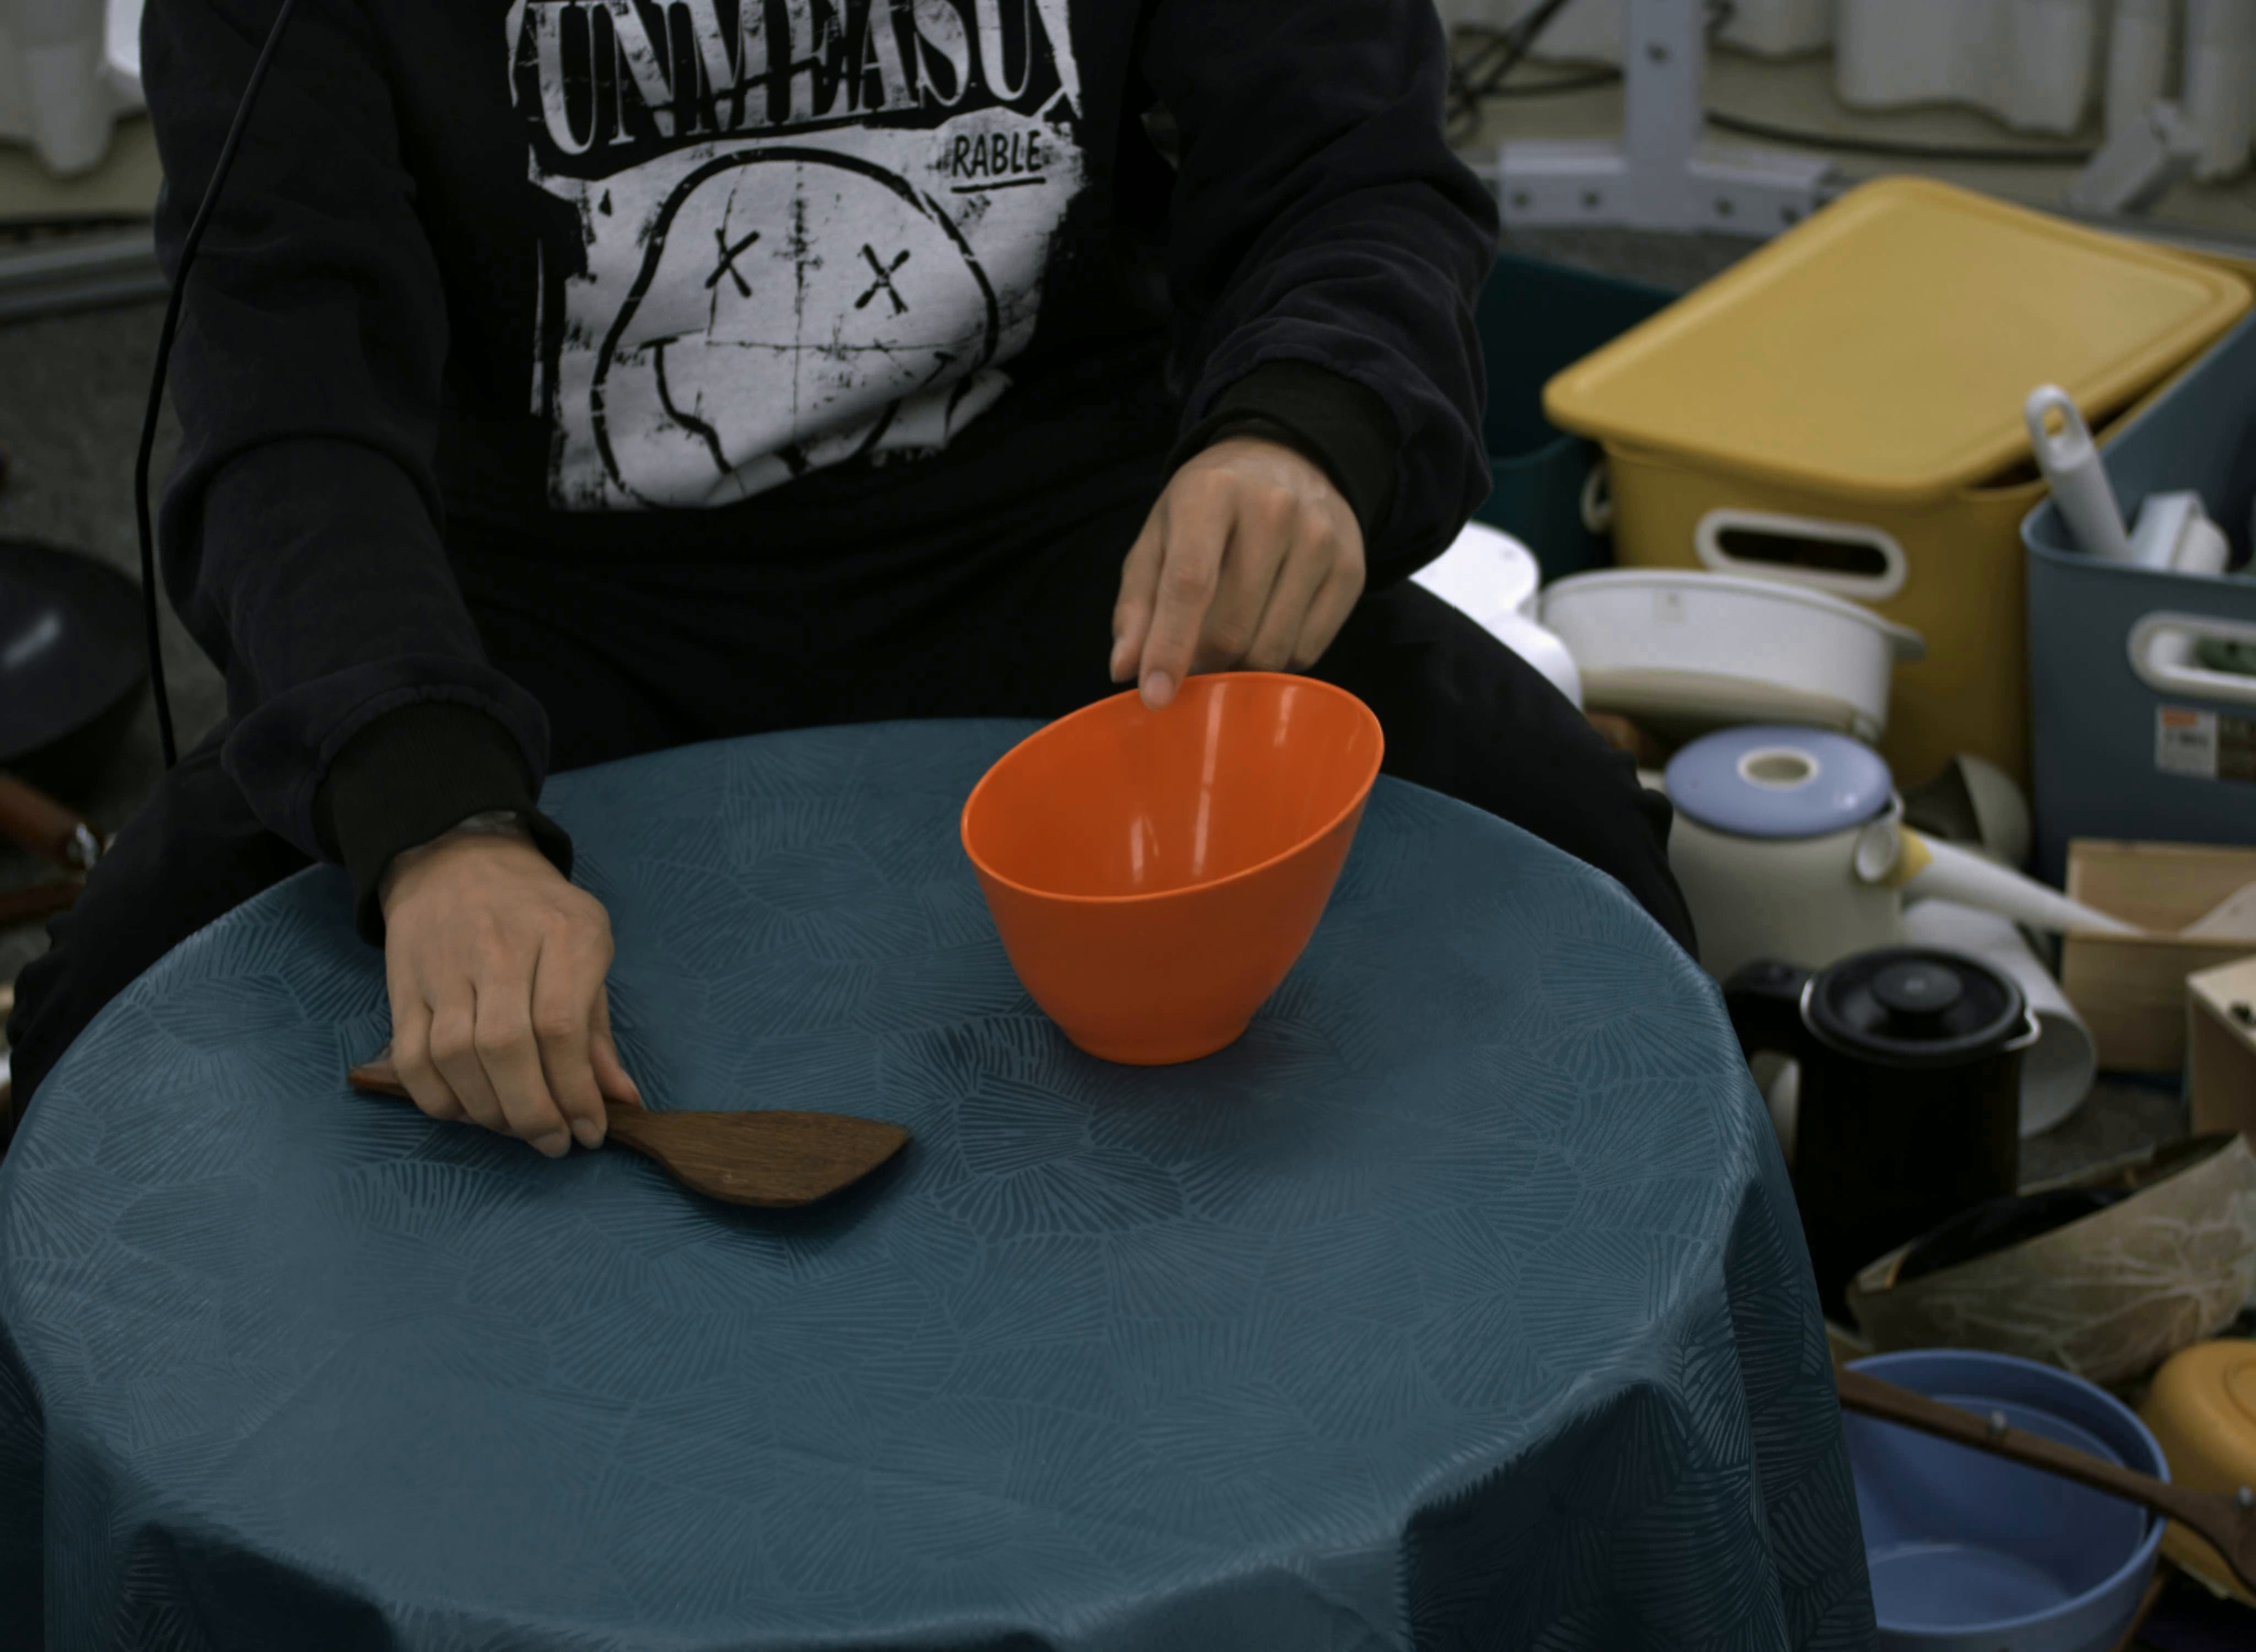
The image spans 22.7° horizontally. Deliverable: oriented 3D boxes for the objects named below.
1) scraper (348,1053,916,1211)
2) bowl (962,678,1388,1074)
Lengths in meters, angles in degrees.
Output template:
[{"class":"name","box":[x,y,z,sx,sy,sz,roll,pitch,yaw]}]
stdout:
[{"class":"scraper","box":[-0.174,0.101,1.905,0.210,0.011,0.077,10,22,26]},{"class":"bowl","box":[0.018,0.023,1.942,0.147,0.103,0.150,-2,27,2]}]
